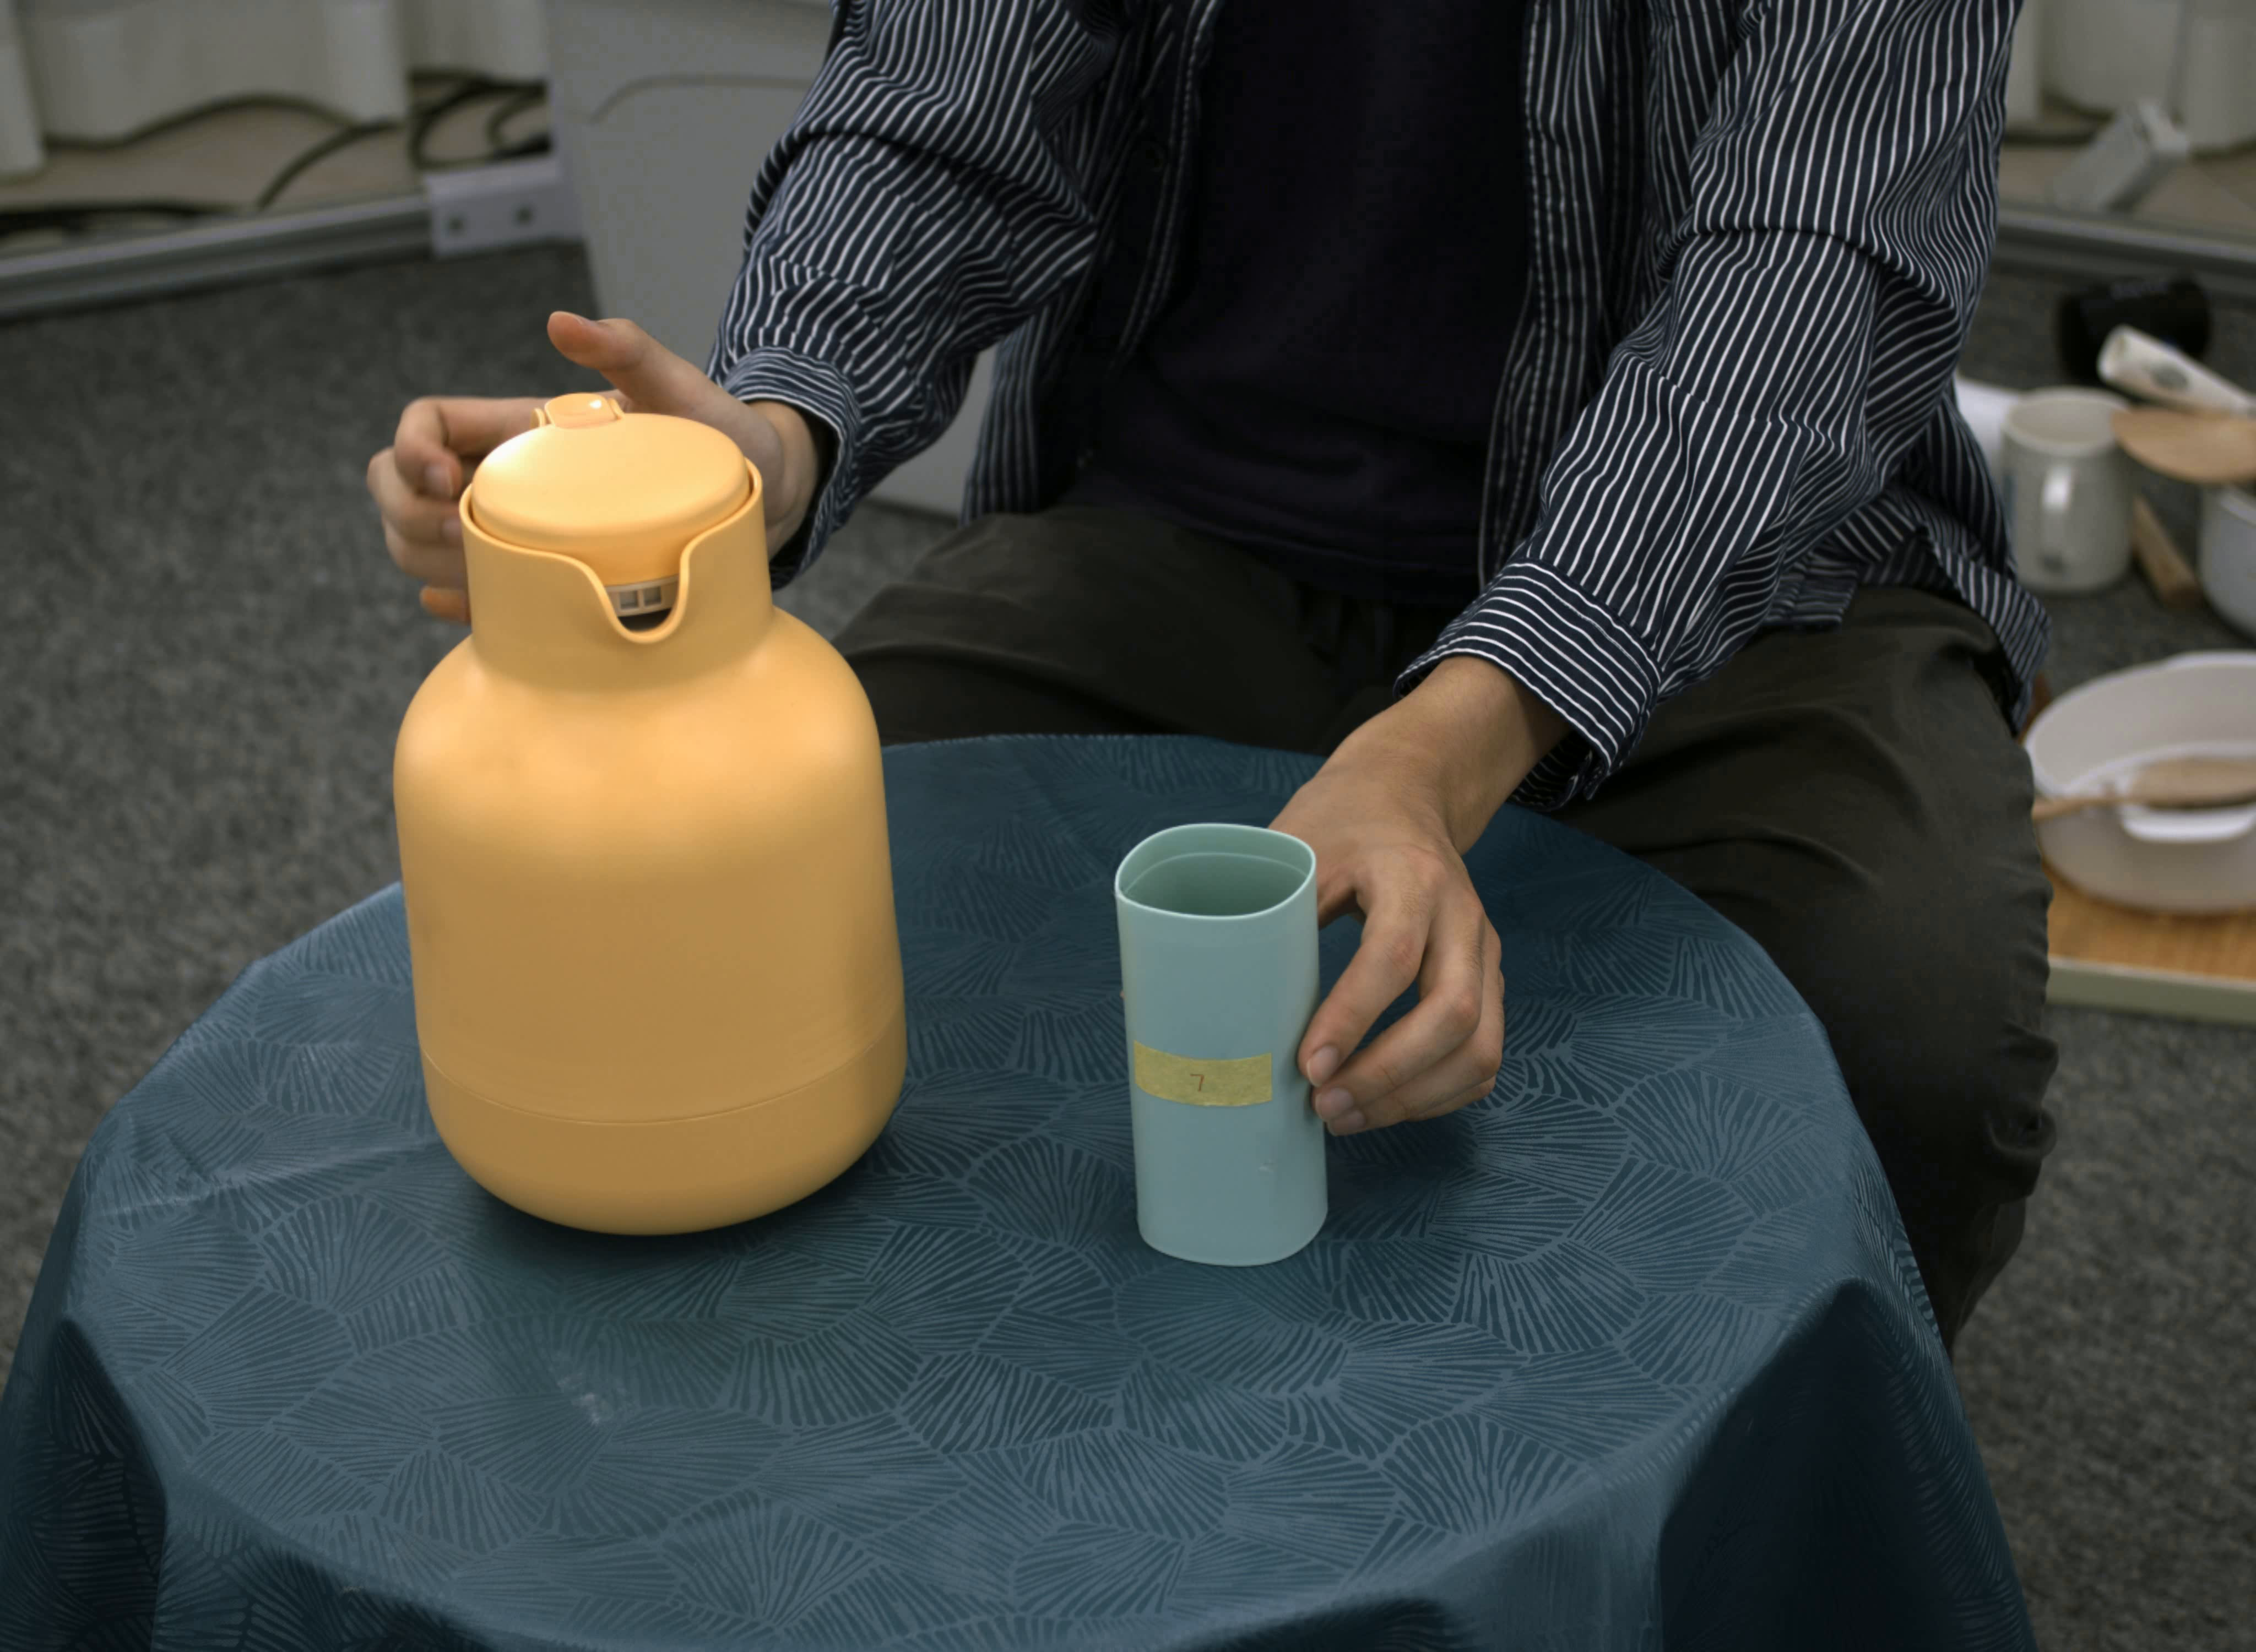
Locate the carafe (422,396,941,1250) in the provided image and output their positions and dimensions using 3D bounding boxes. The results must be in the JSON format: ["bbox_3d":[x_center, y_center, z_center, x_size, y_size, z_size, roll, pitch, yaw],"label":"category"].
[{"bbox_3d":[-0.152,-0.011,1.848,0.163,0.258,0.204,-9,27,-13],"label":"carafe"}]

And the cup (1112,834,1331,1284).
[{"bbox_3d":[0.031,0.074,1.812,0.066,0.131,0.068,-3,25,2],"label":"cup"}]
